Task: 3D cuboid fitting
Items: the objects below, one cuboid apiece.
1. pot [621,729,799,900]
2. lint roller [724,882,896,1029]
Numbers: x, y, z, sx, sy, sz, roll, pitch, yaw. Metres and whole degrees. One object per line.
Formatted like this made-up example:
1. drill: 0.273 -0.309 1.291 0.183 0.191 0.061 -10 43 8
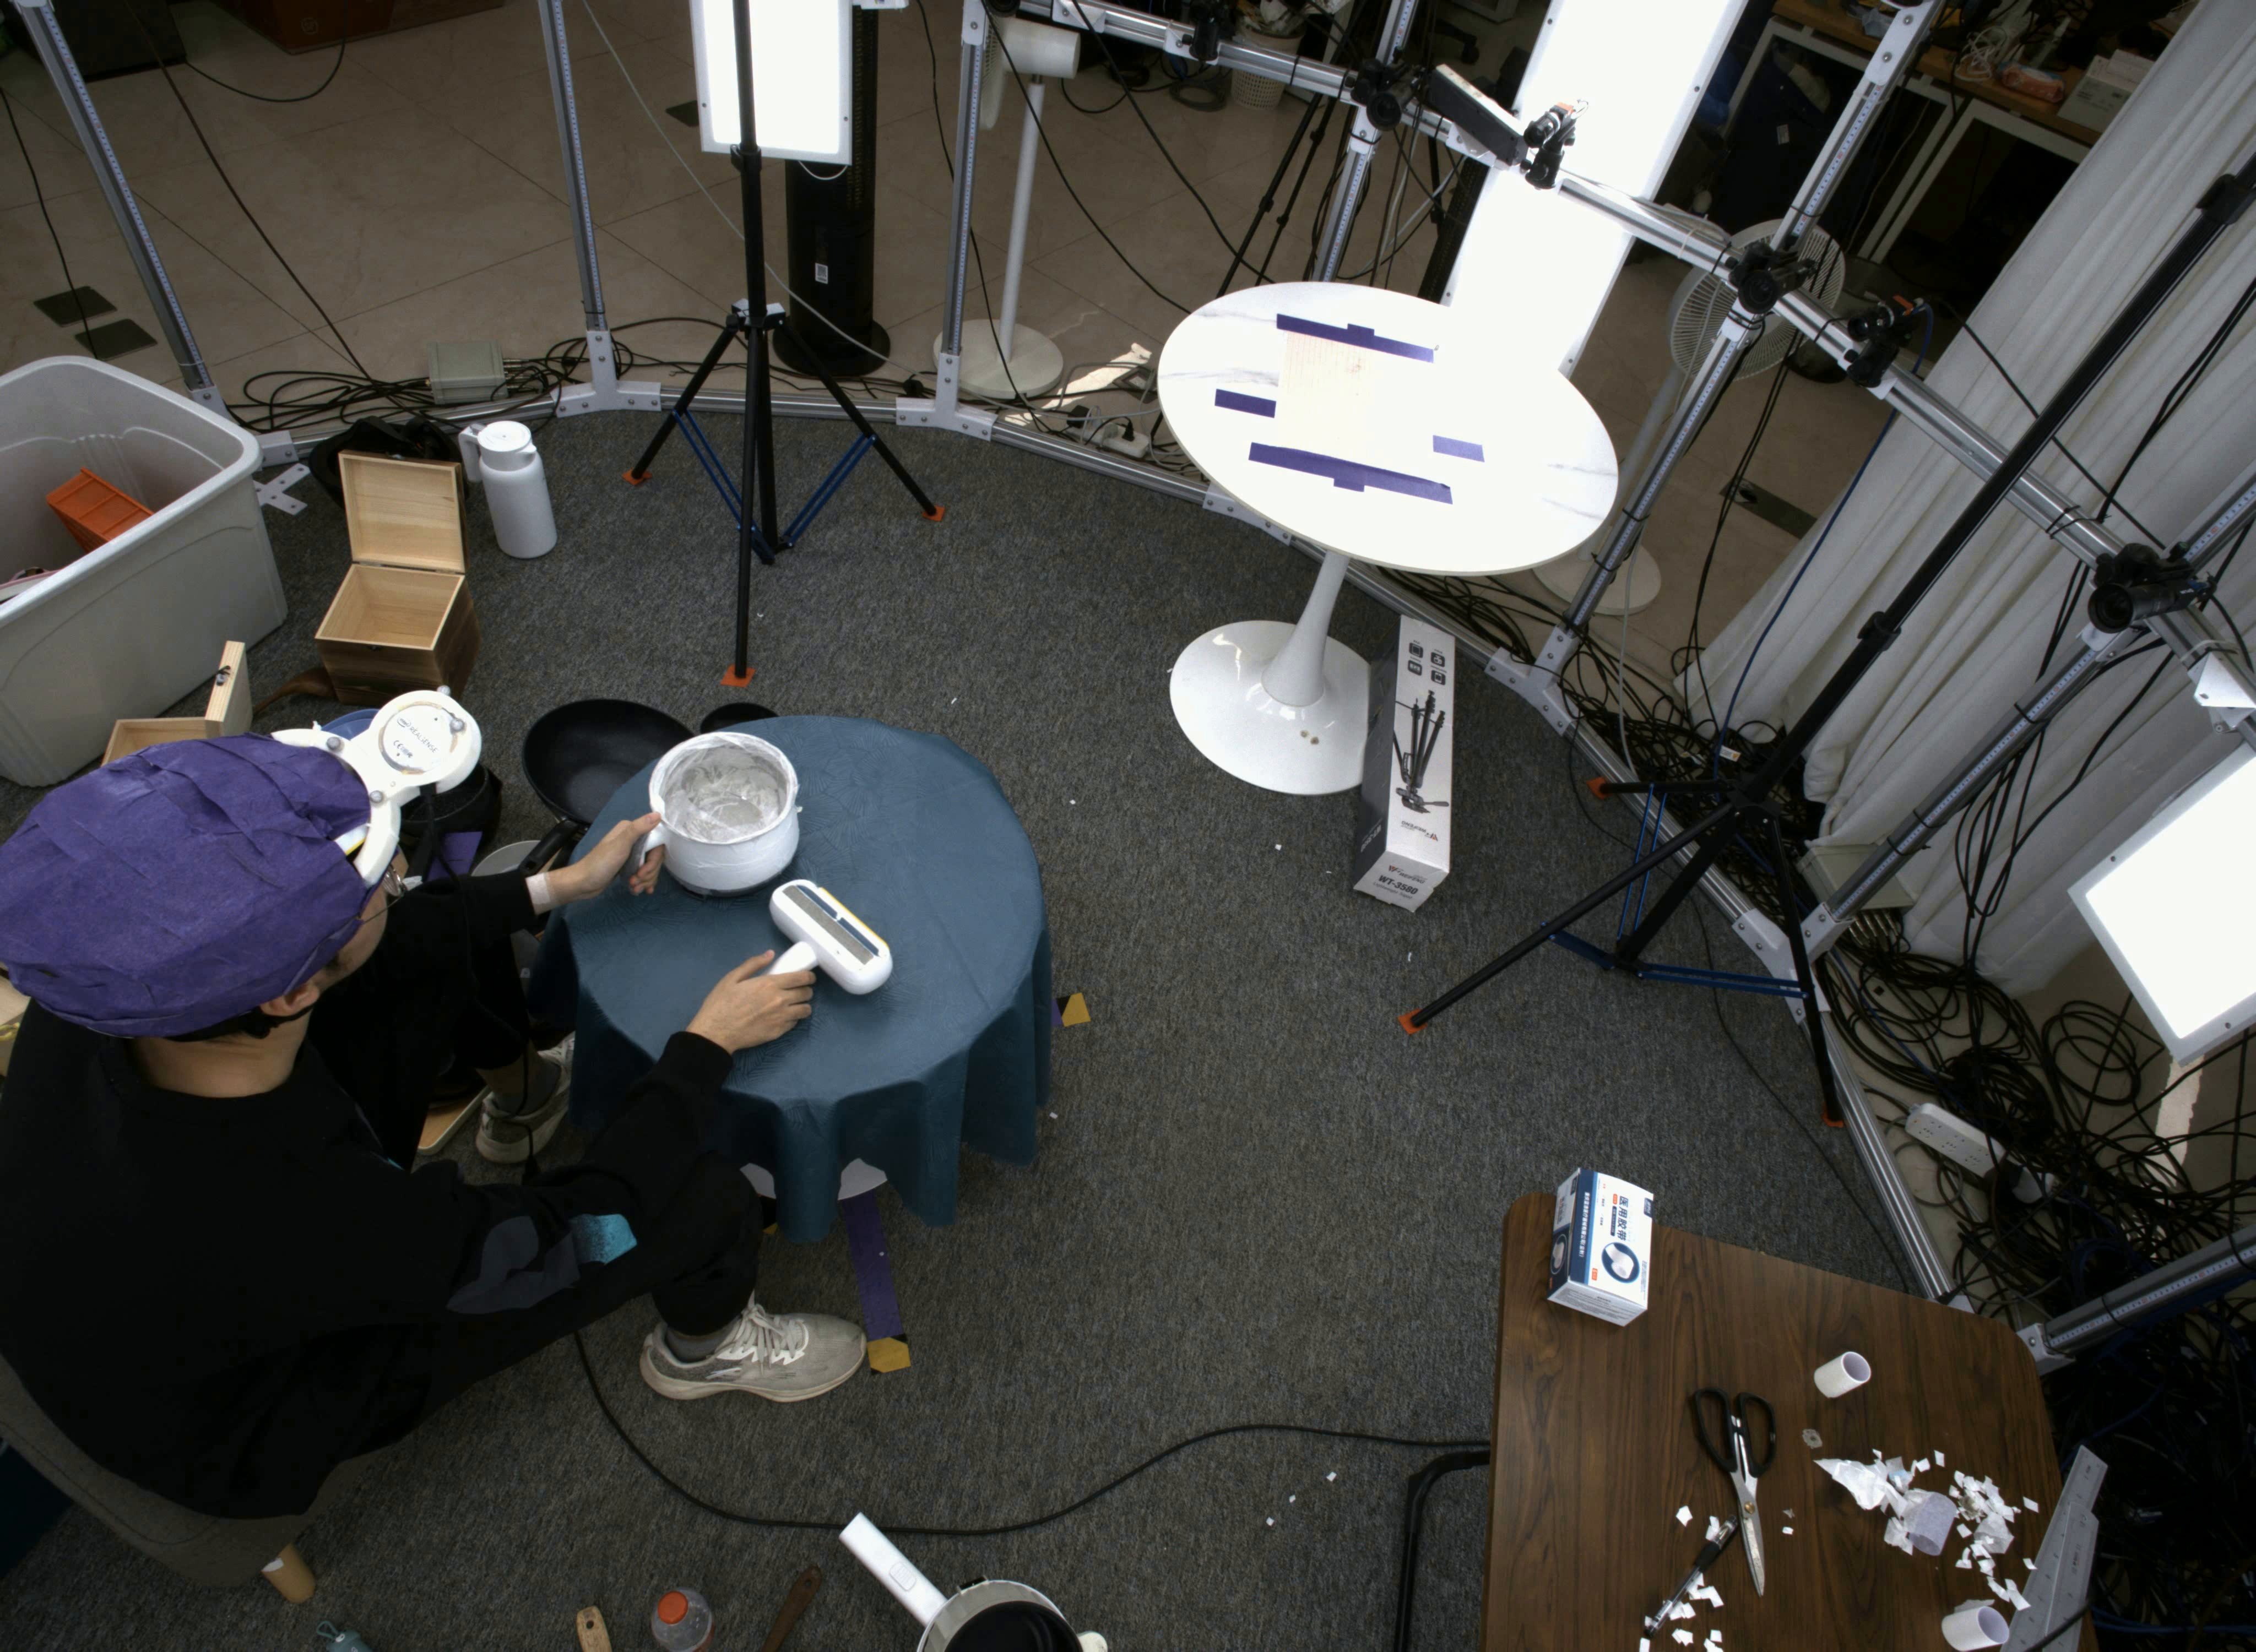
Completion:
1. pot: -0.526 -0.002 1.613 0.235 0.139 0.174 -30 63 -32
2. lint roller: -0.404 0.169 1.566 0.193 0.076 0.187 -33 61 -30
